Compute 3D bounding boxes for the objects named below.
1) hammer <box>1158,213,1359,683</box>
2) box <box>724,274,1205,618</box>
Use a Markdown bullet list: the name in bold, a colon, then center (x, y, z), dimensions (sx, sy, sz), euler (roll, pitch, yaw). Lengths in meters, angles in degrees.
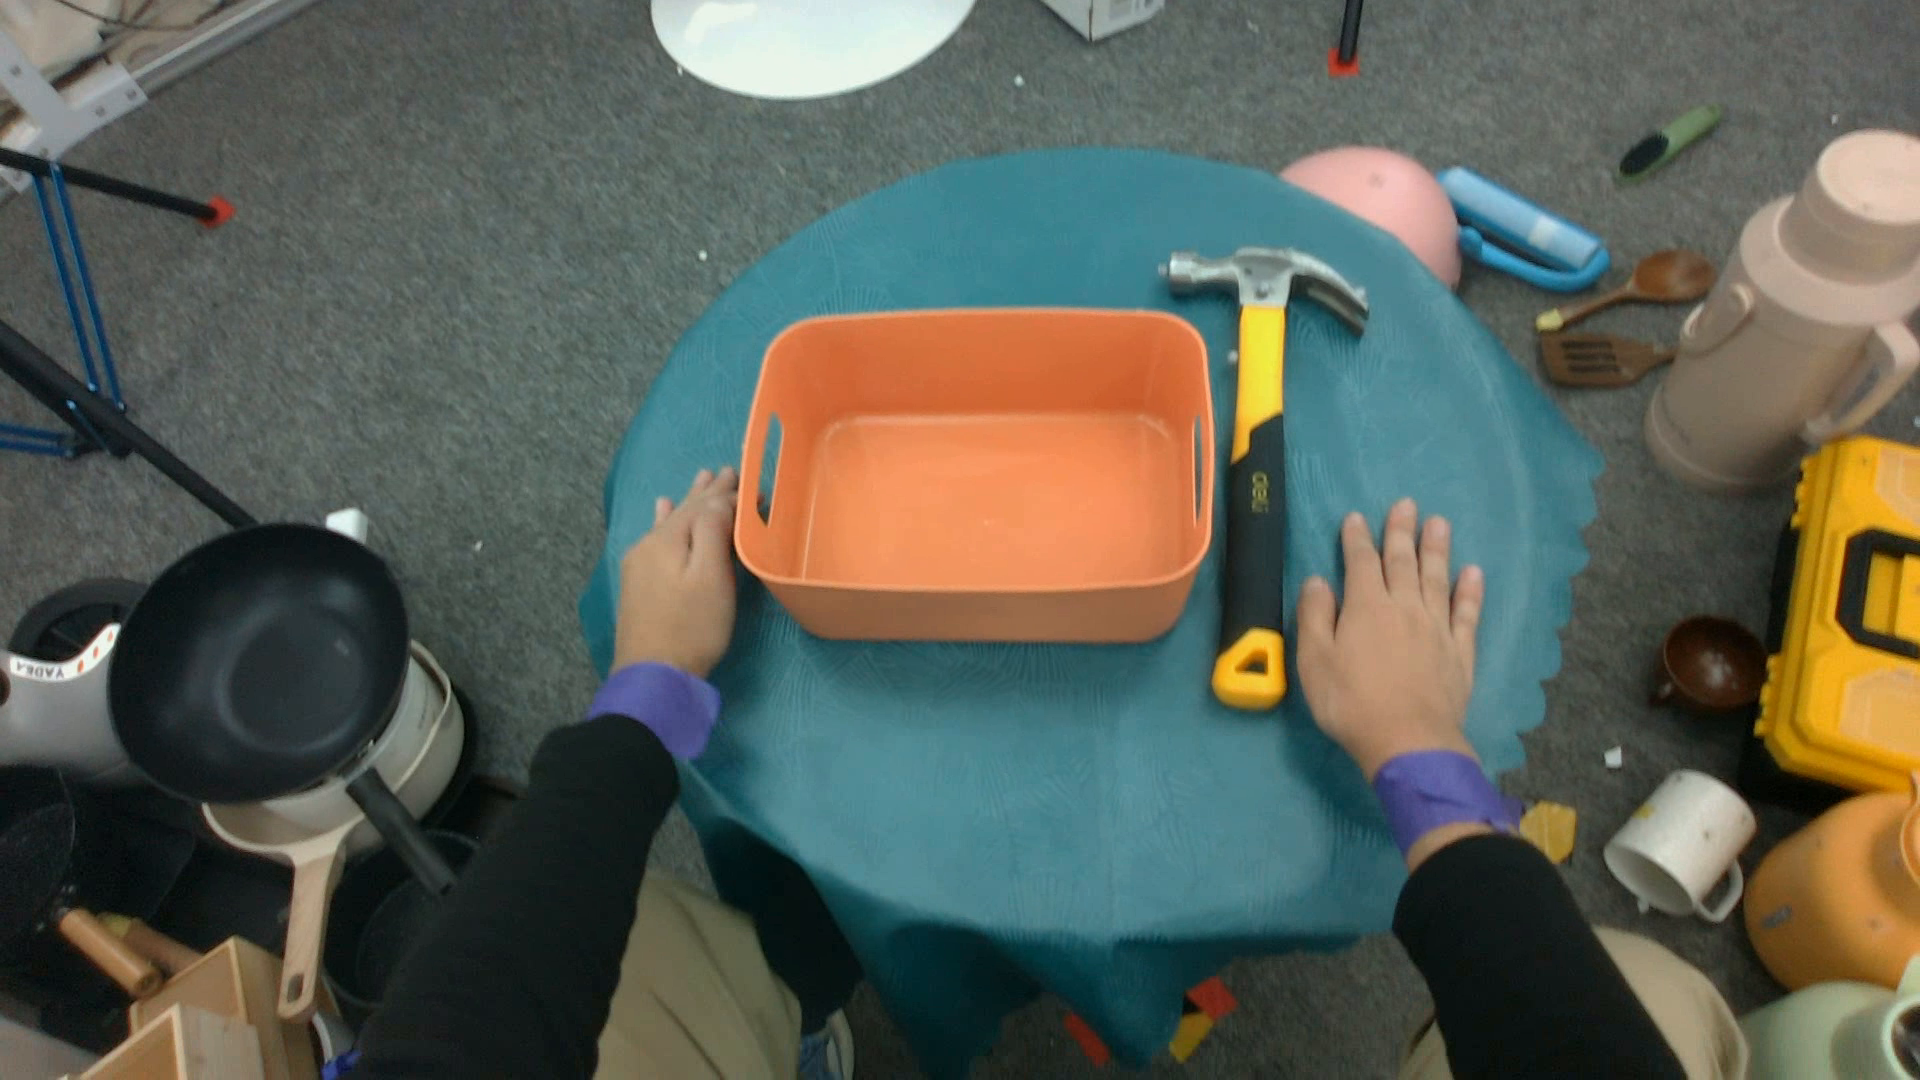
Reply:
- **hammer**: center (0.181, -0.070, 0.859), dimensions (0.131, 0.032, 0.340), euler (4, 61, 9)
- **box**: center (0.008, -0.049, 0.829), dimensions (0.273, 0.102, 0.200), euler (-1, 62, 7)
